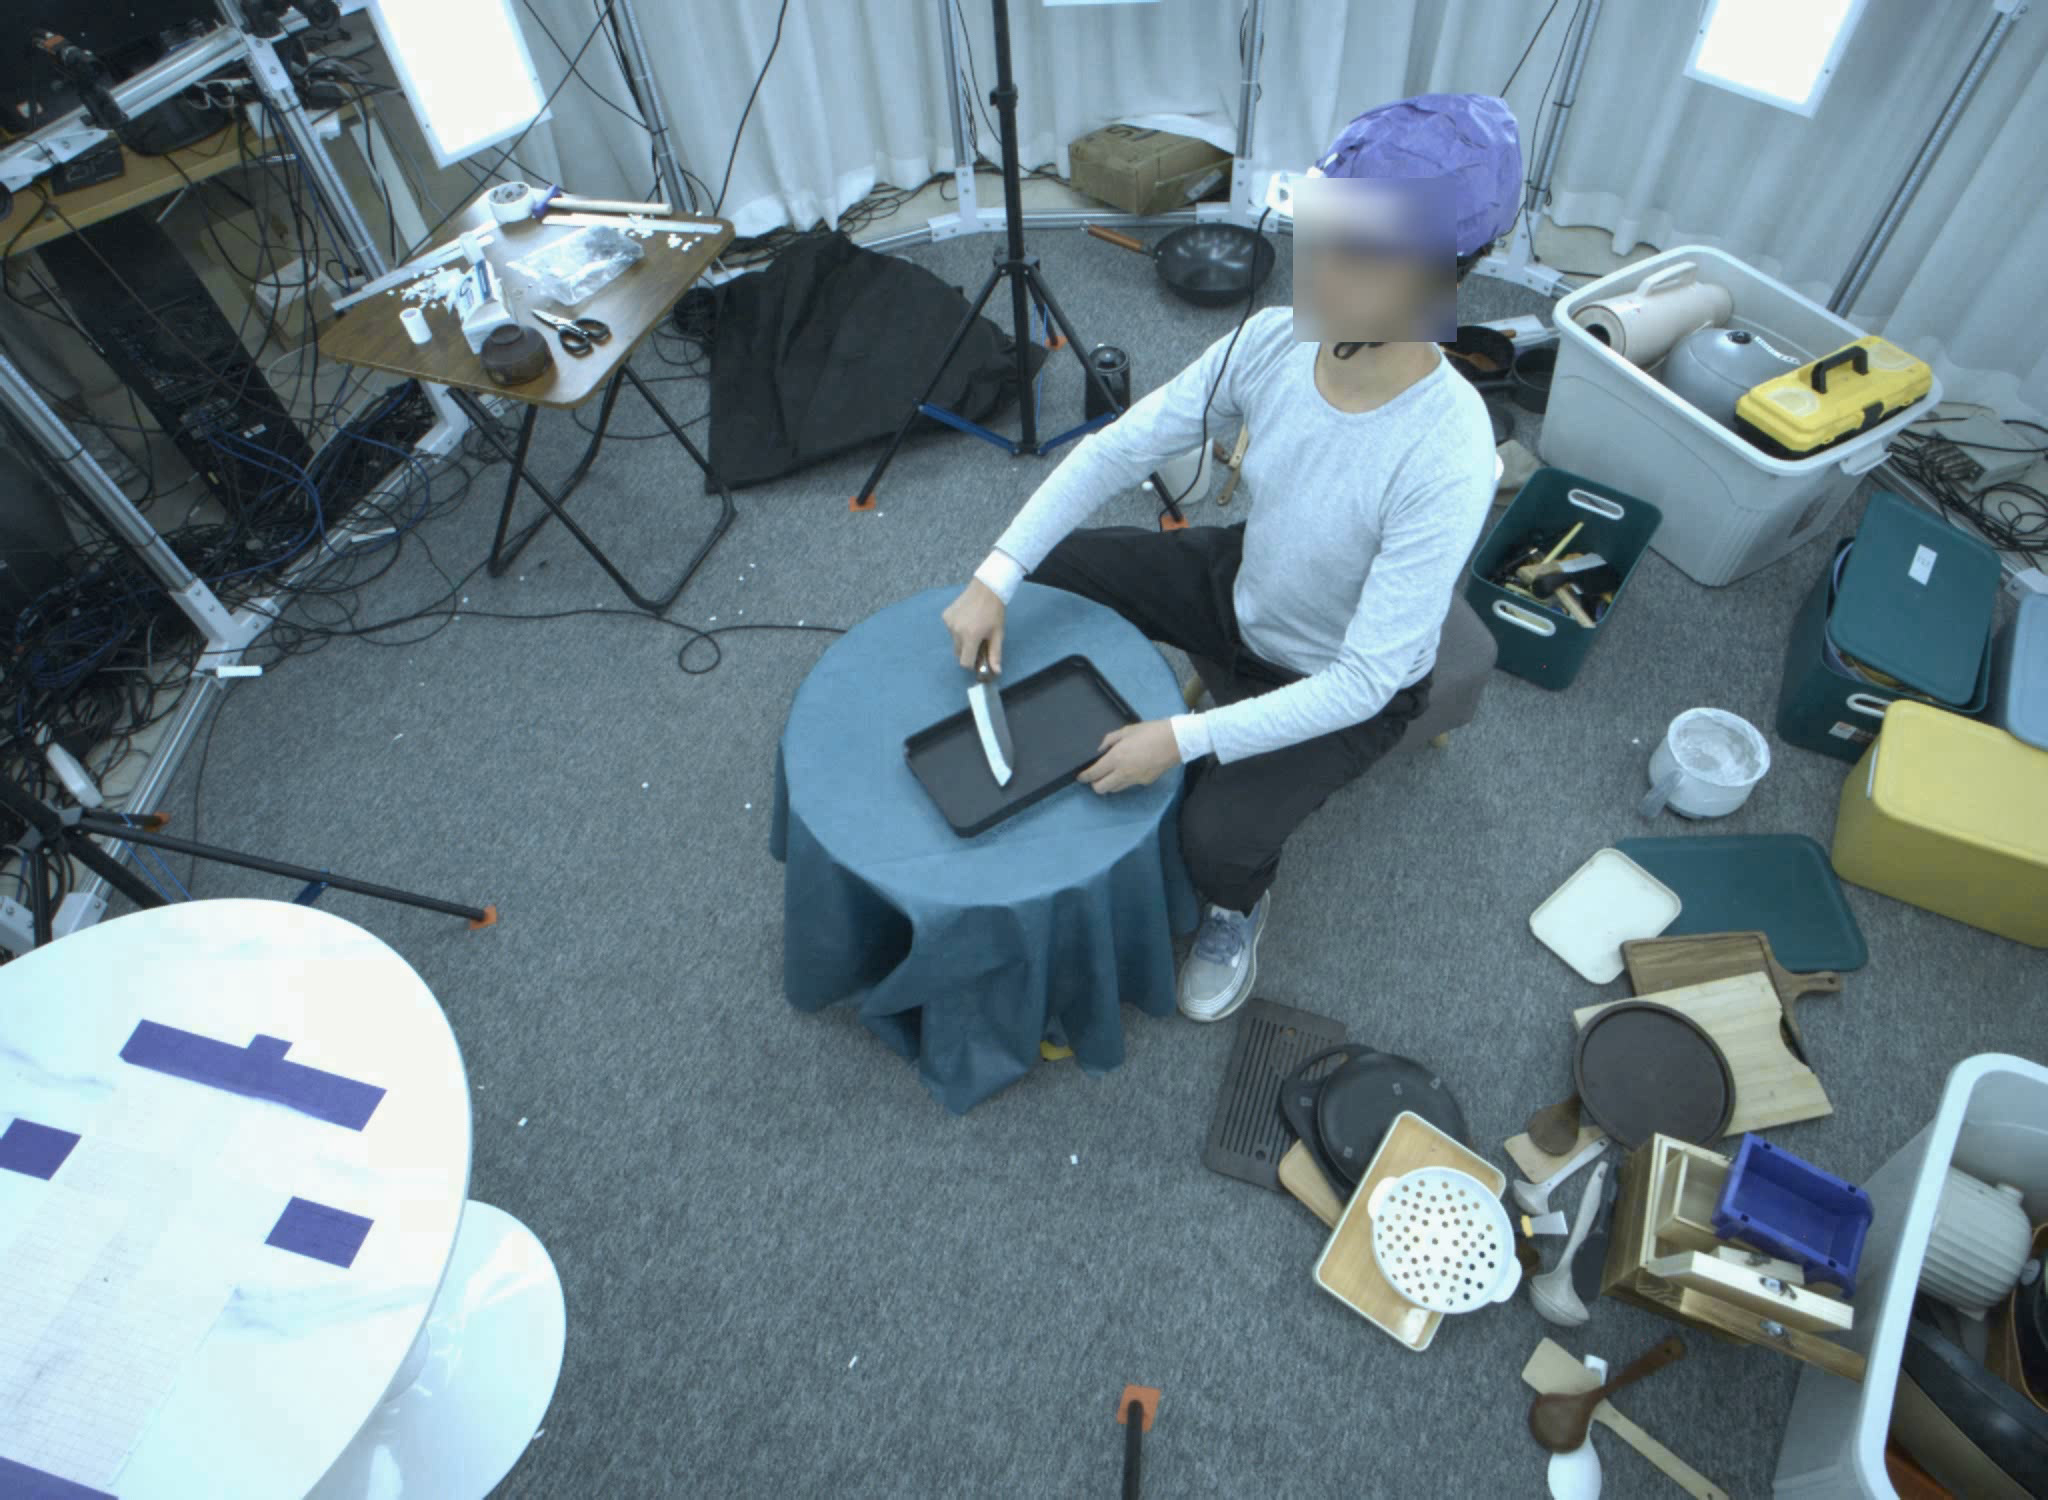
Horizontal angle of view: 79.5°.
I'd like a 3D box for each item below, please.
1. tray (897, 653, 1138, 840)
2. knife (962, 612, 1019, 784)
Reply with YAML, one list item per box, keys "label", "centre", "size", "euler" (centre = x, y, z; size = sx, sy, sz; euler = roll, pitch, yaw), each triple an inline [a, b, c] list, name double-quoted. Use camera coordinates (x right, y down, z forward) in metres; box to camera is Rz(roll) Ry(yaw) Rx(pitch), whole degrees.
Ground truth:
- label: "tray"
  centre: [-0.008, -0.010, 1.780]
  size: [0.320, 0.037, 0.181]
  euler: [-30, 59, -19]
- label: "knife"
  centre: [-0.052, -0.079, 1.801]
  size: [0.050, 0.020, 0.285]
  euler: [-20, 65, 13]
